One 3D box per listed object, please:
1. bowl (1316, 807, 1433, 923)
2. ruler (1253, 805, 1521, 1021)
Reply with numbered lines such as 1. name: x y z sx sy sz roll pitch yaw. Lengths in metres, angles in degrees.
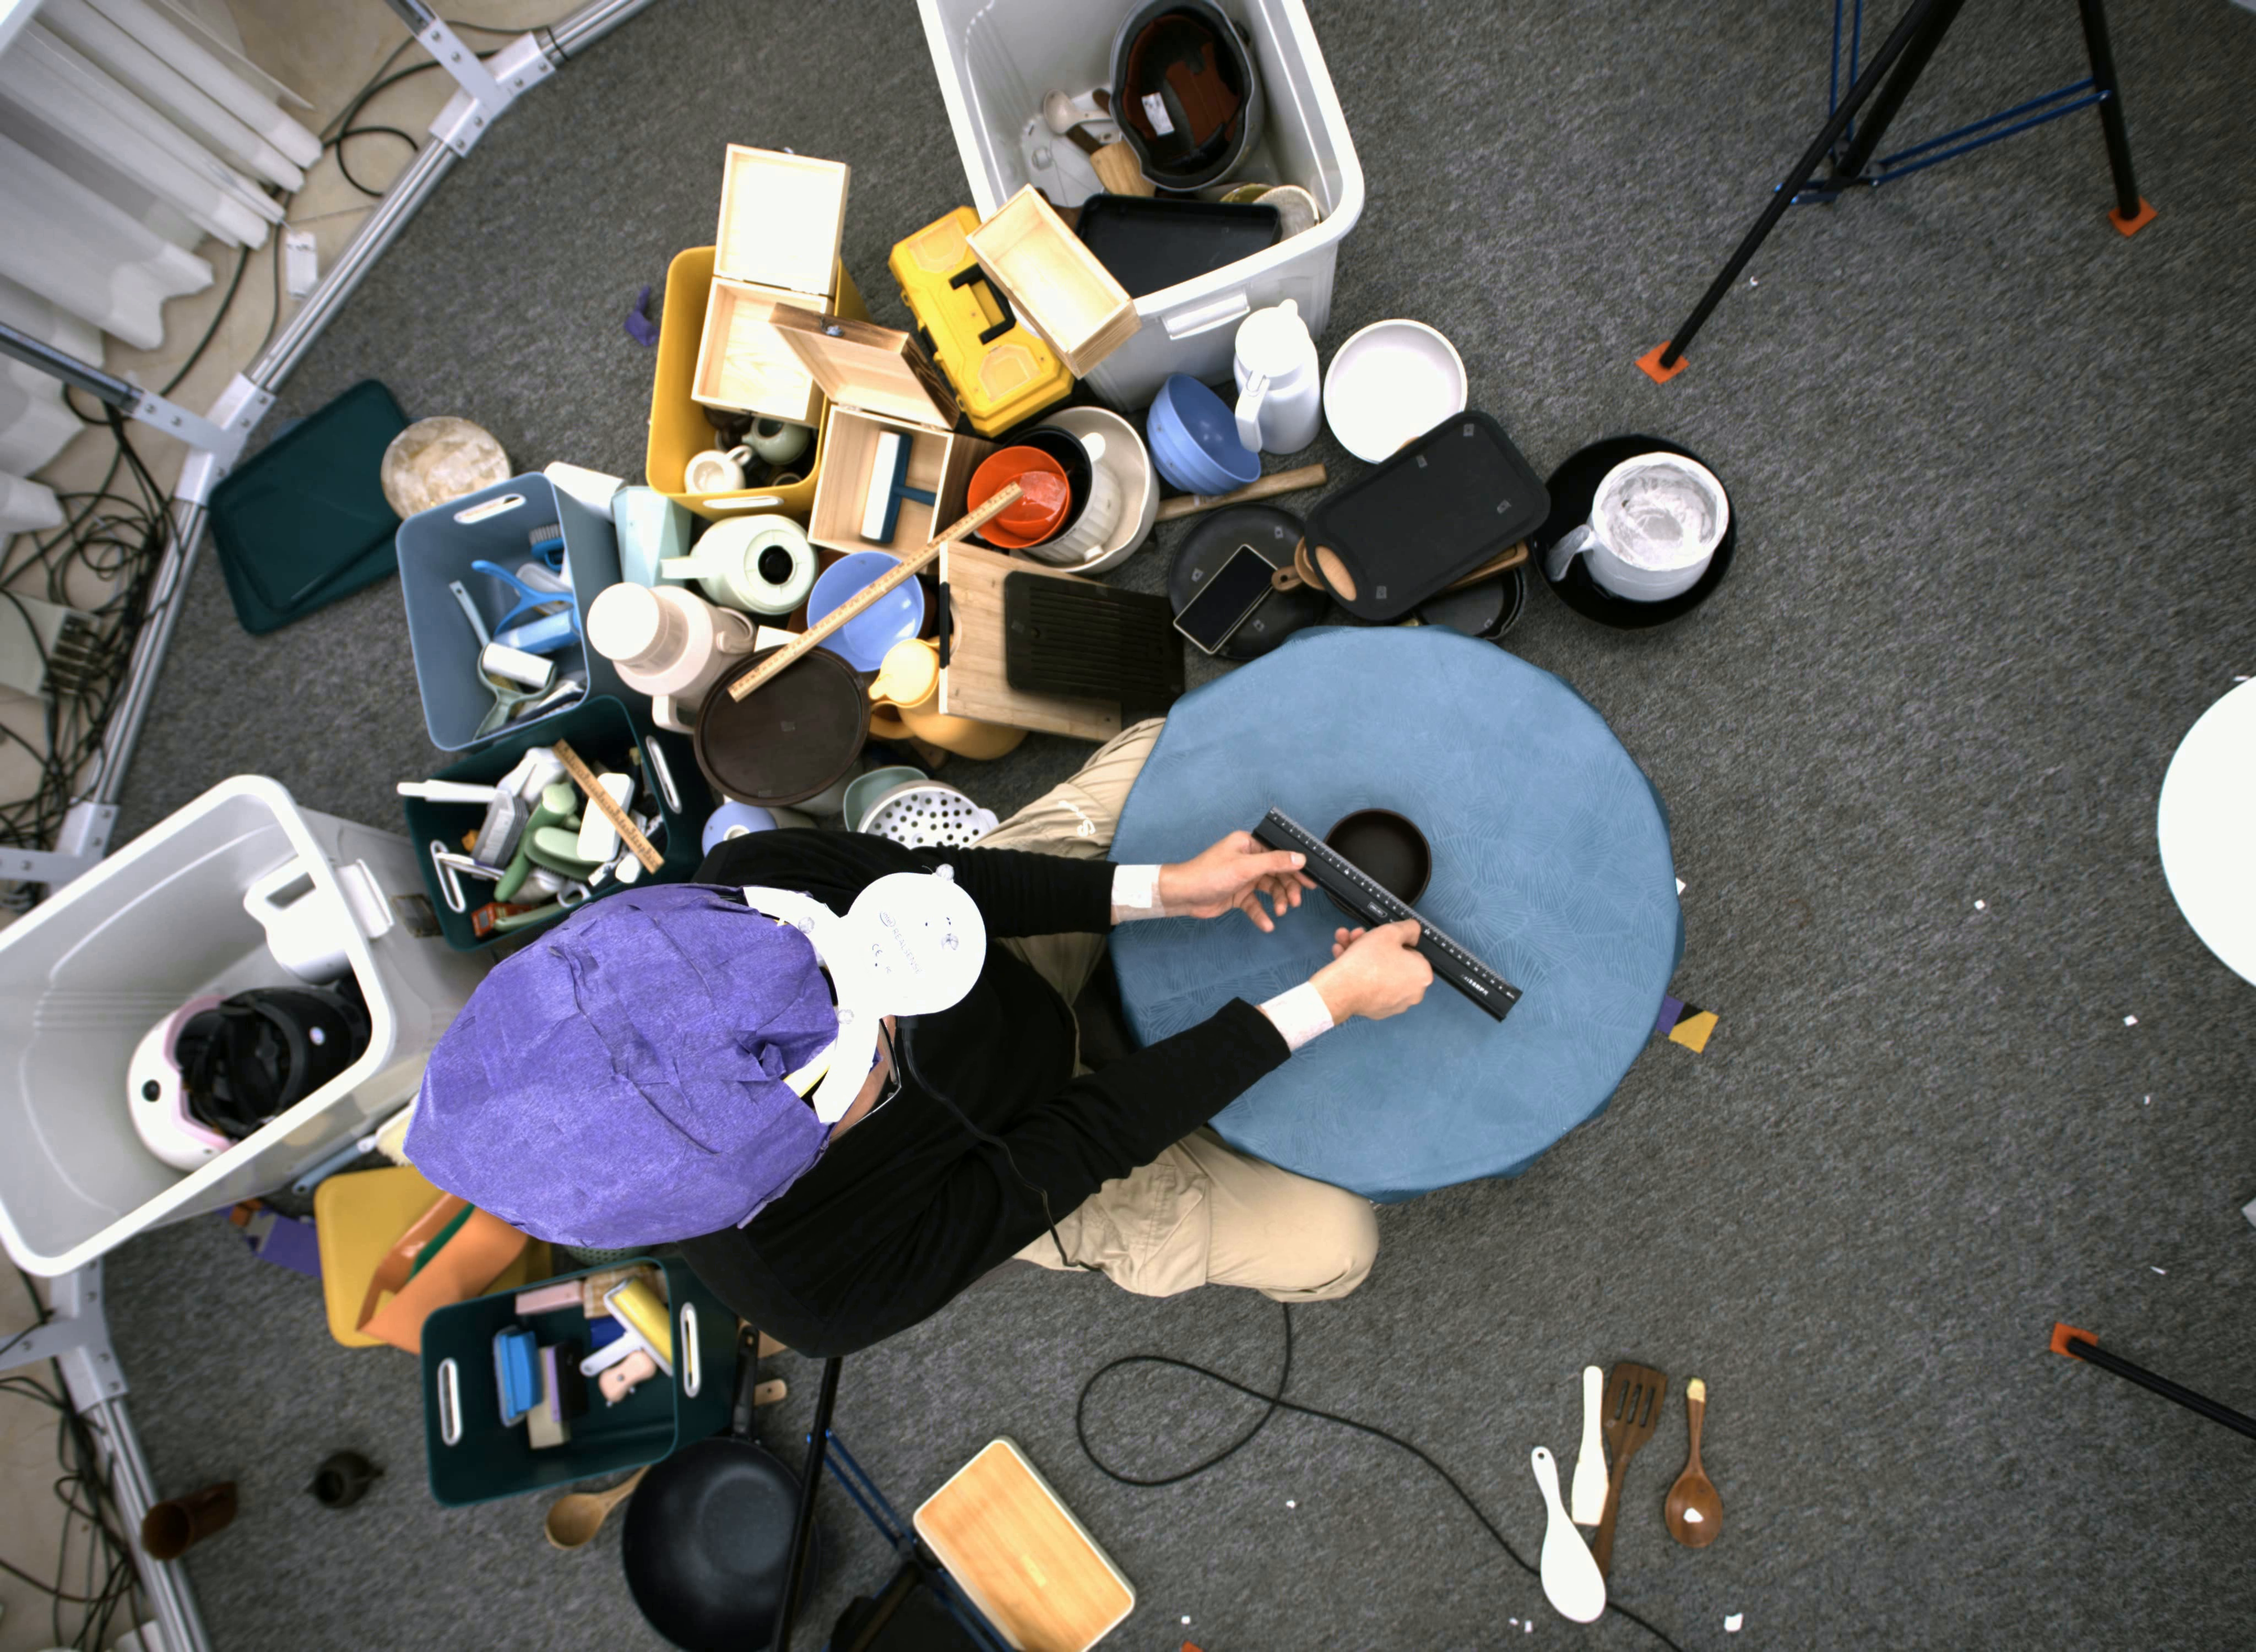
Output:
1. bowl: 0.252 0.042 1.425 0.118 0.070 0.117 -1 83 7
2. ruler: 0.259 0.084 1.385 0.311 0.017 0.039 38 91 9
